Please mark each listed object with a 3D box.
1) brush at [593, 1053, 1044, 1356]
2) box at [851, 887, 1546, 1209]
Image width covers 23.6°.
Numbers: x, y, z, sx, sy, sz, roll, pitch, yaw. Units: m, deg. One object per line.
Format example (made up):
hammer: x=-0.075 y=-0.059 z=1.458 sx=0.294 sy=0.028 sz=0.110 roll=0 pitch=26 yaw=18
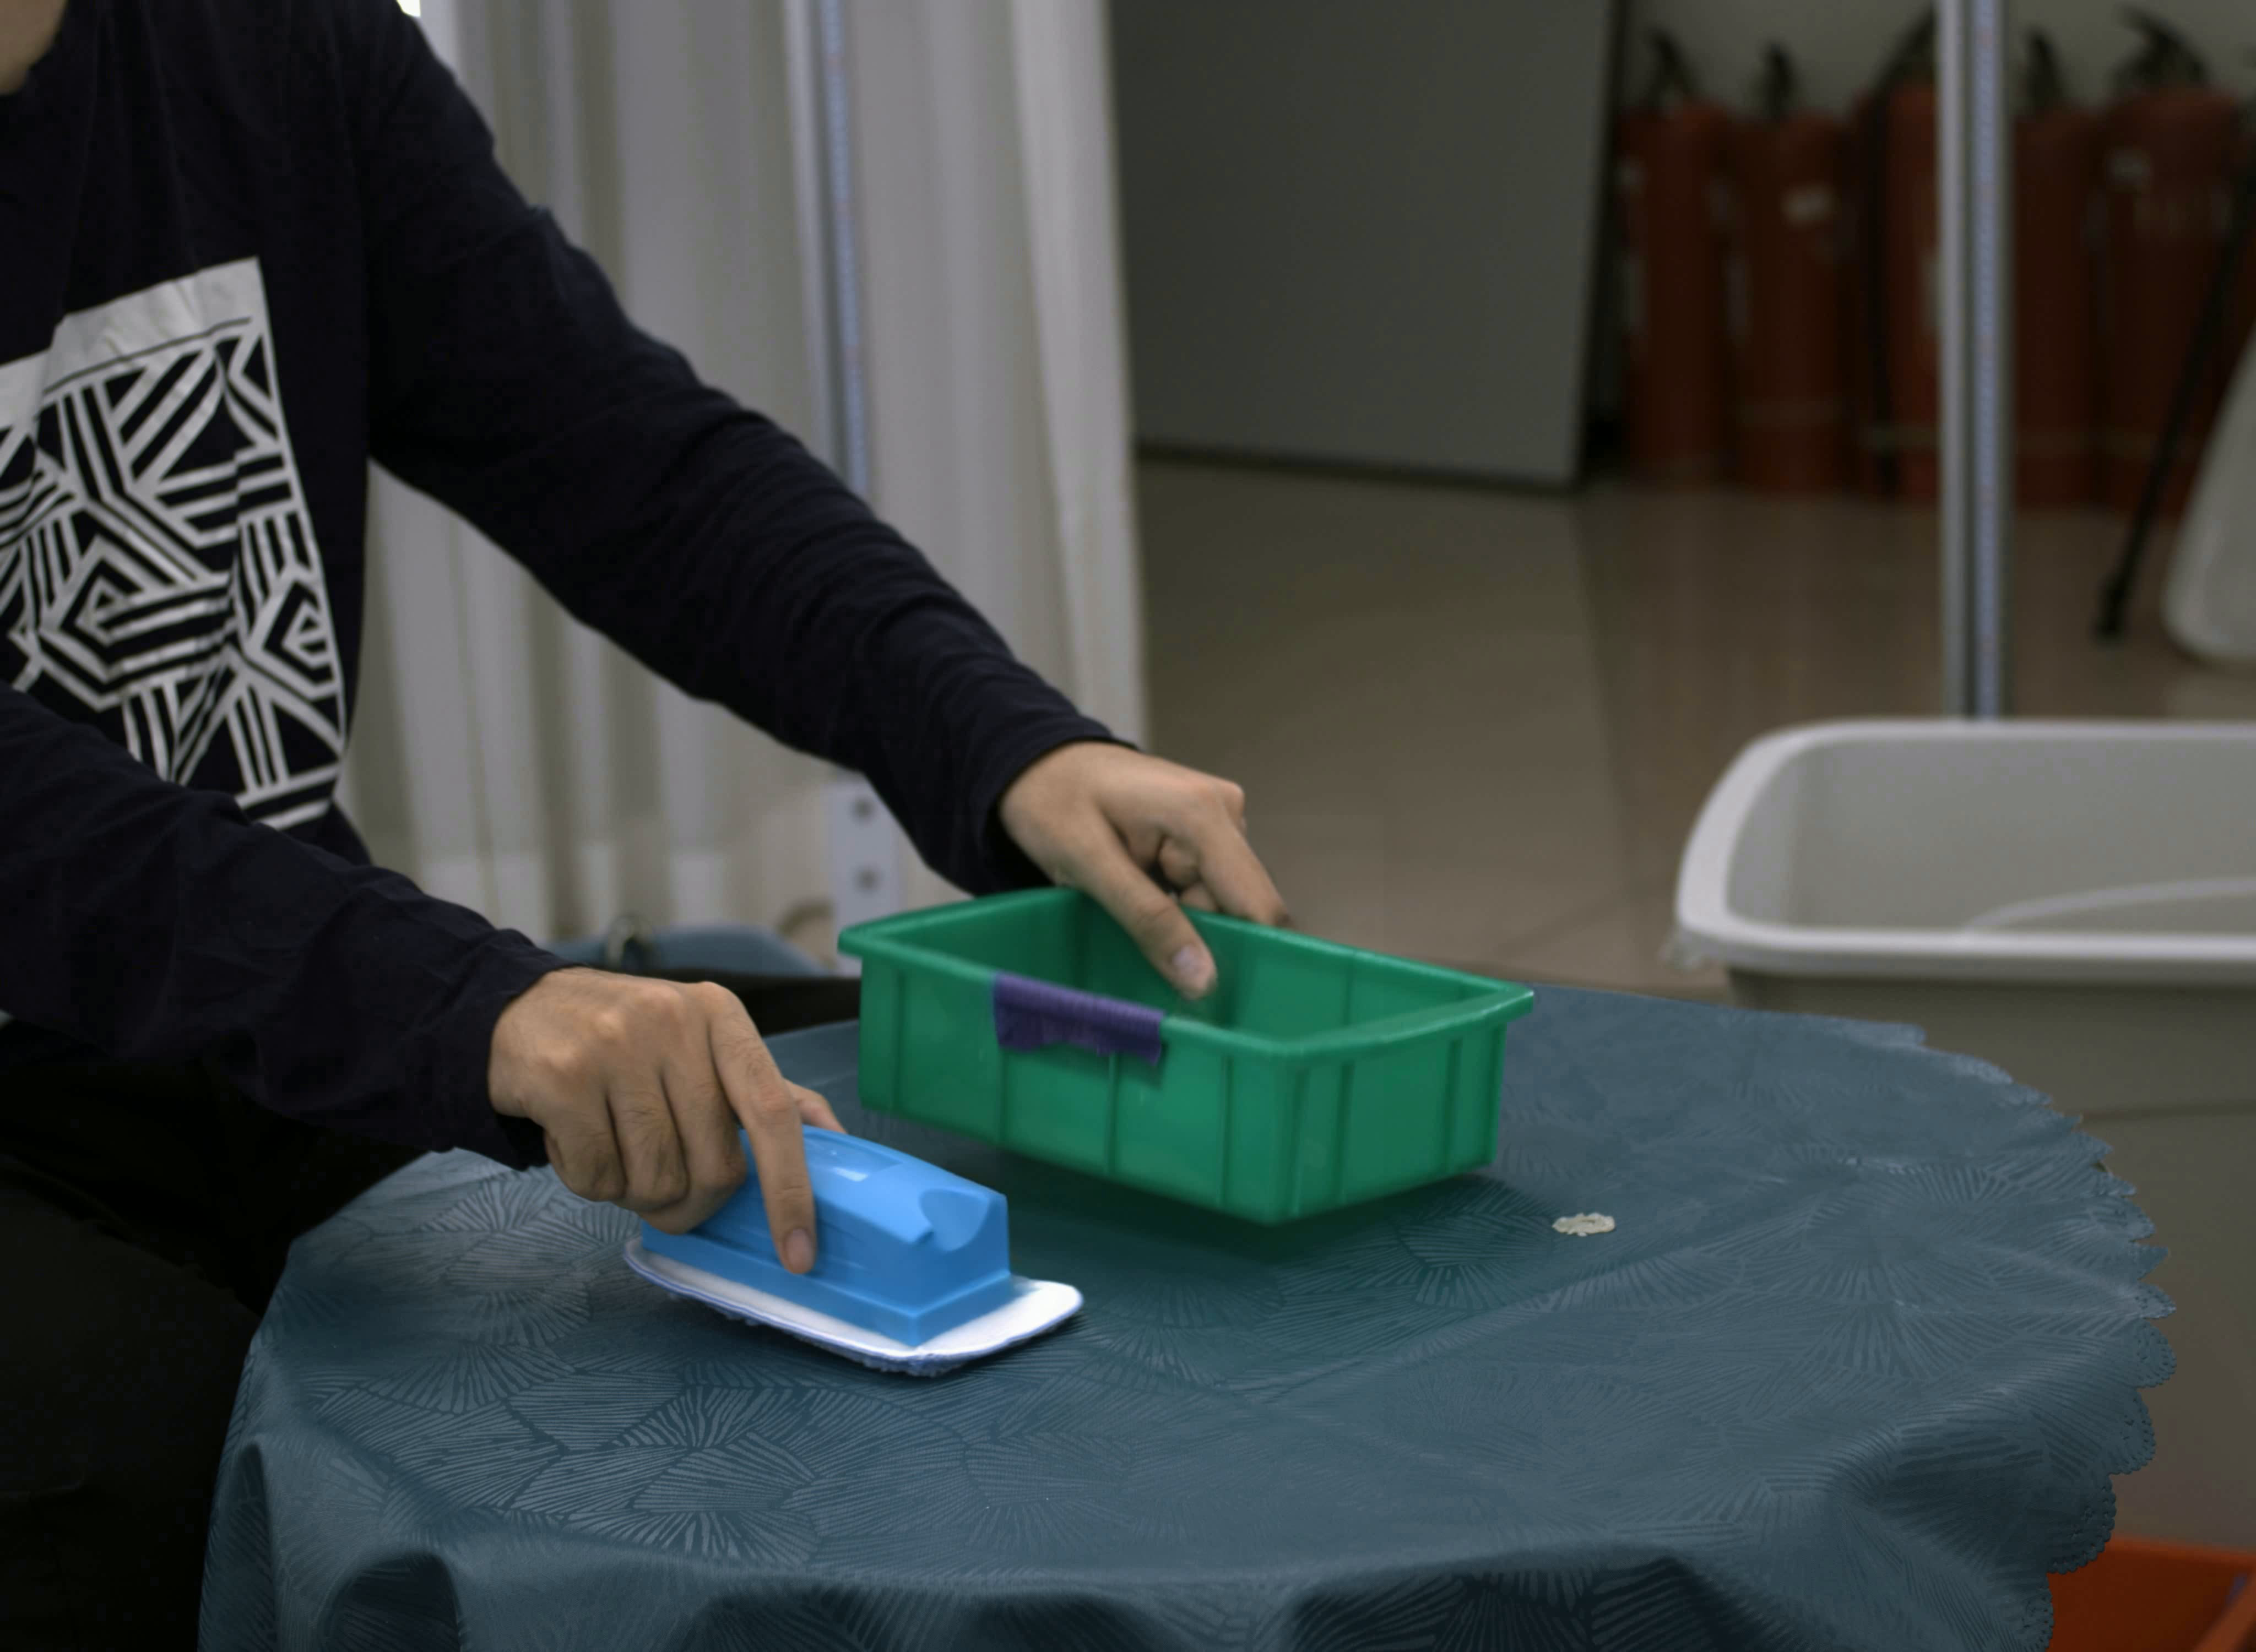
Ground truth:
brush: x=-0.094 y=0.113 z=1.662 sx=0.145 sy=0.056 sz=0.082 roll=26 pitch=32 yaw=38
box: x=0.021 y=0.072 z=1.770 sx=0.212 sy=0.066 sz=0.136 roll=11 pitch=14 yaw=39
